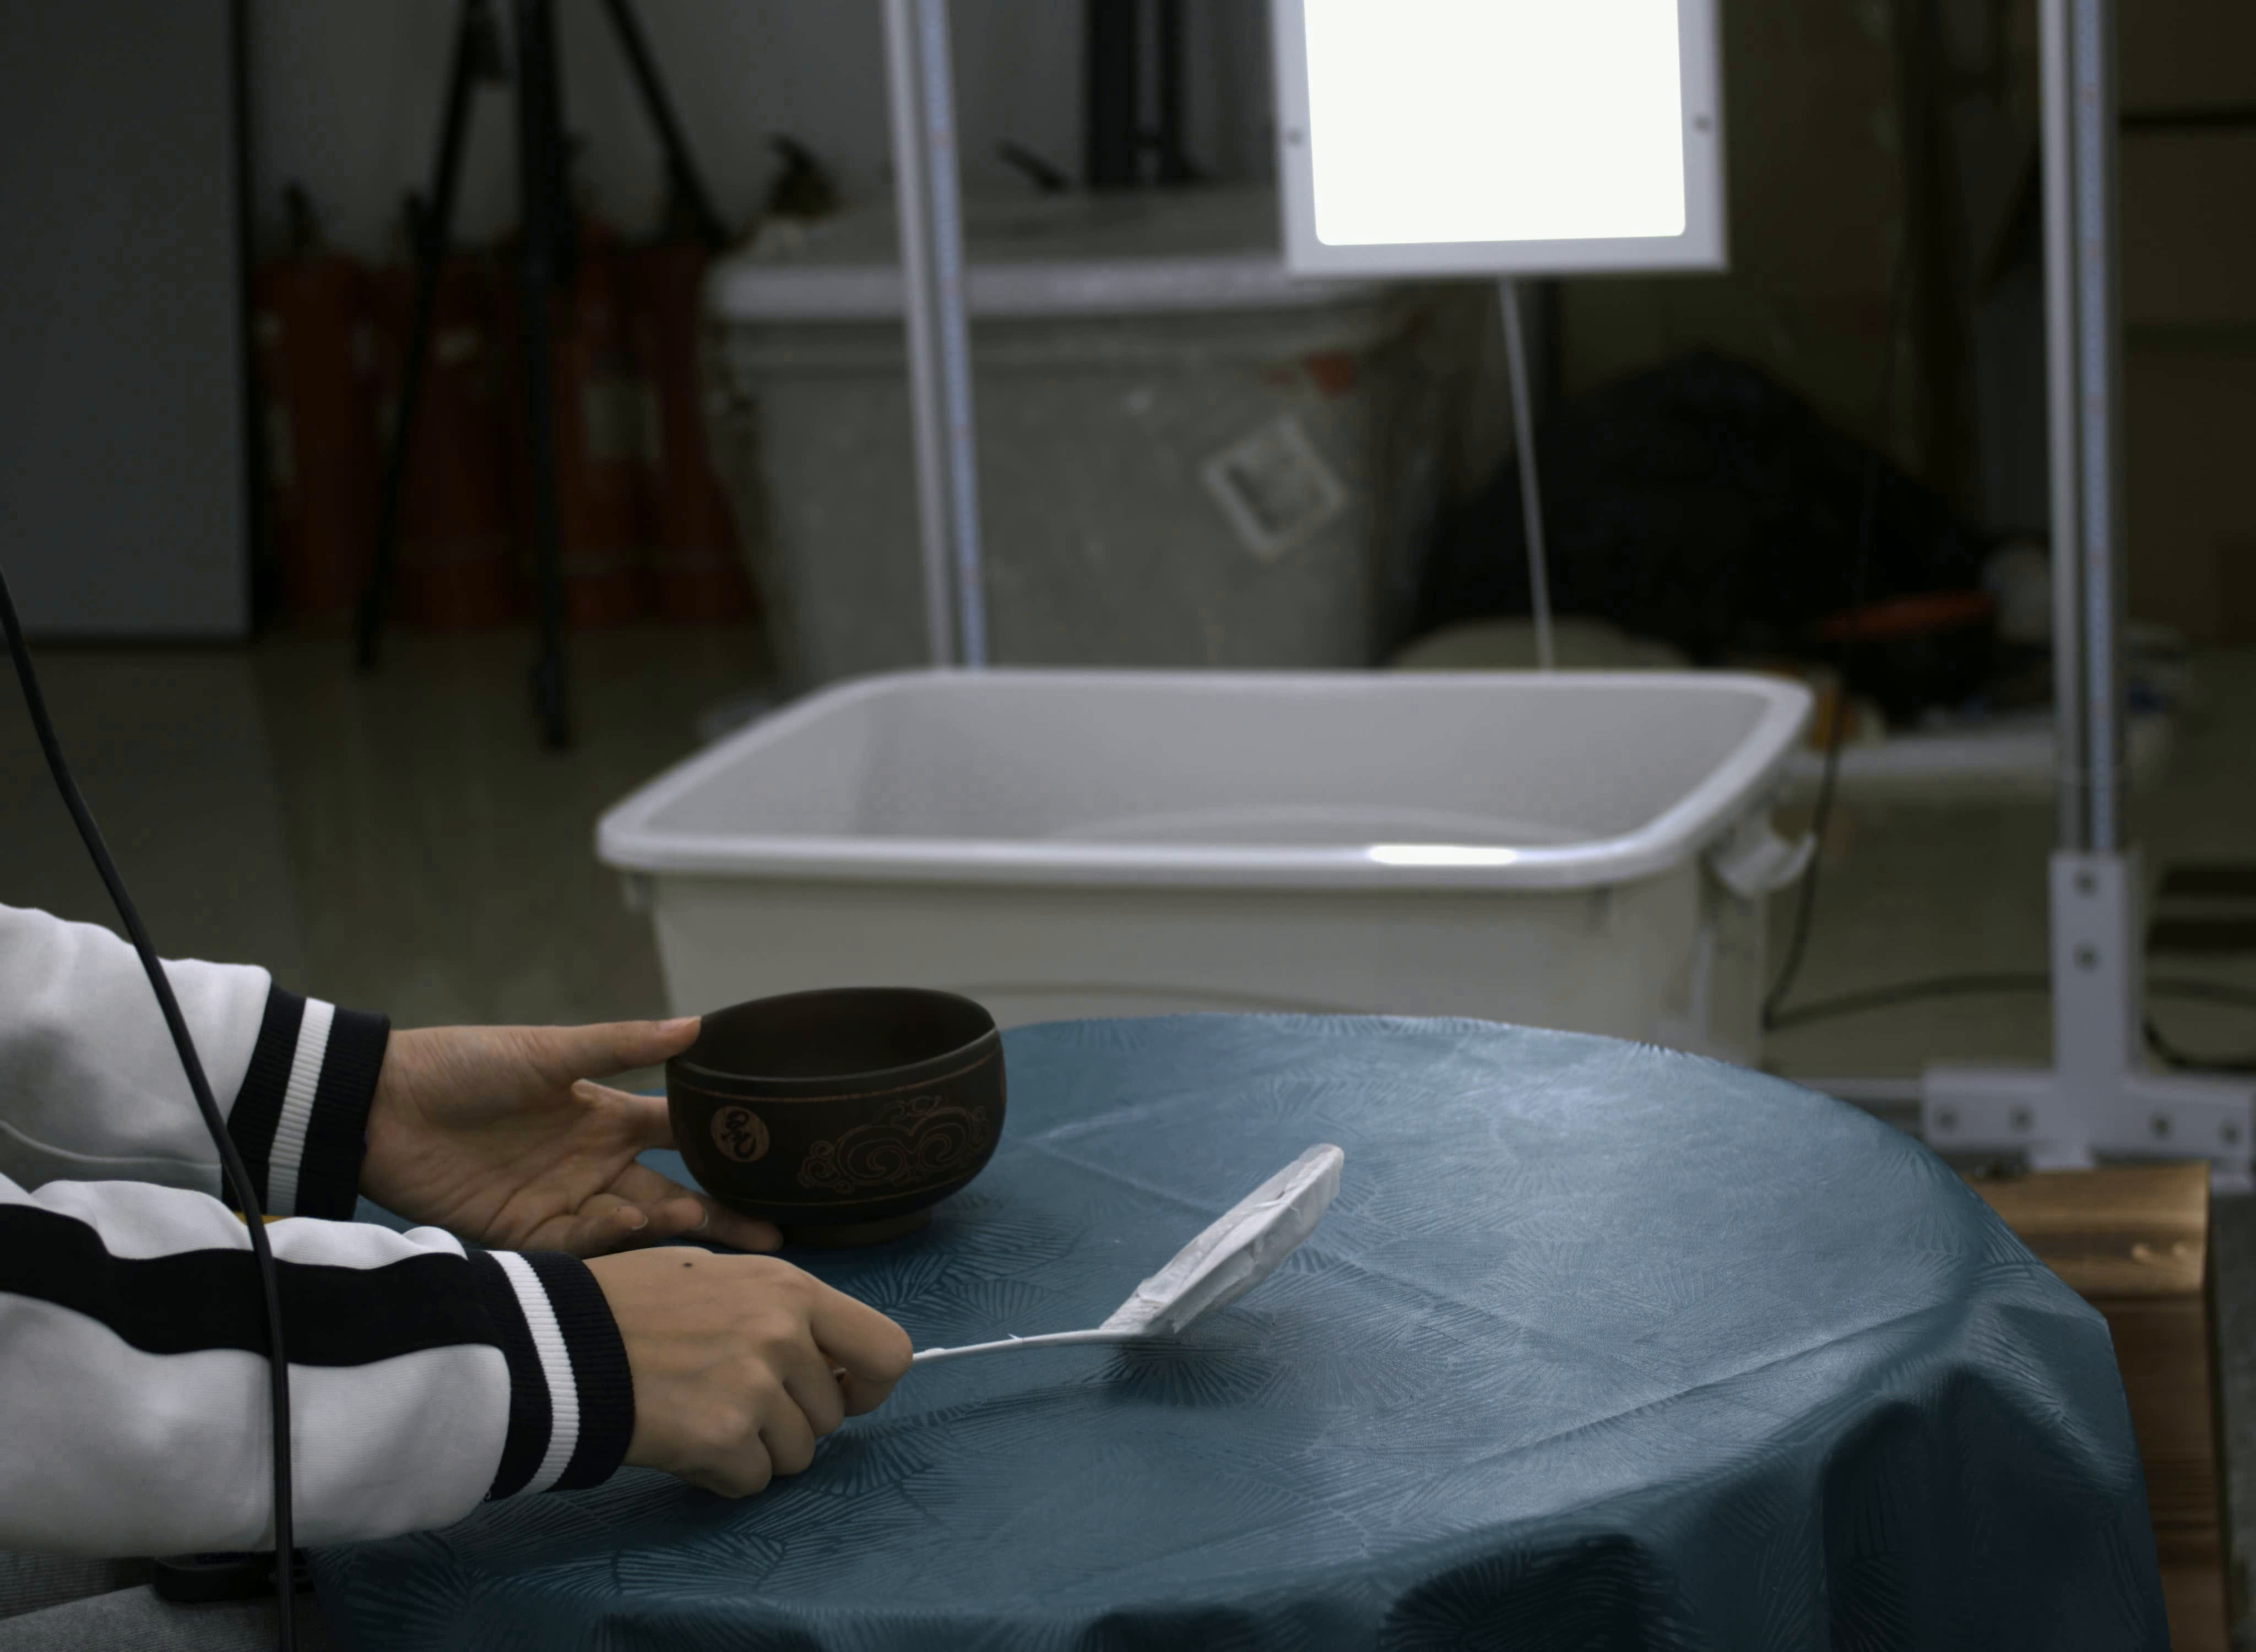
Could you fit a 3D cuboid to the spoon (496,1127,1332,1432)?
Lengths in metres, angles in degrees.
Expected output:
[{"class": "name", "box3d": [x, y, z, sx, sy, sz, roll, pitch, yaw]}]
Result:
[{"class": "spoon", "box3d": [-0.064, 0.140, 1.703, 0.273, 0.059, 0.102, -6, -15, -16]}]

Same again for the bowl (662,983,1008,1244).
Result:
[{"class": "bowl", "box3d": [-0.098, 0.101, 1.883, 0.118, 0.070, 0.118, -6, 14, 0]}]
